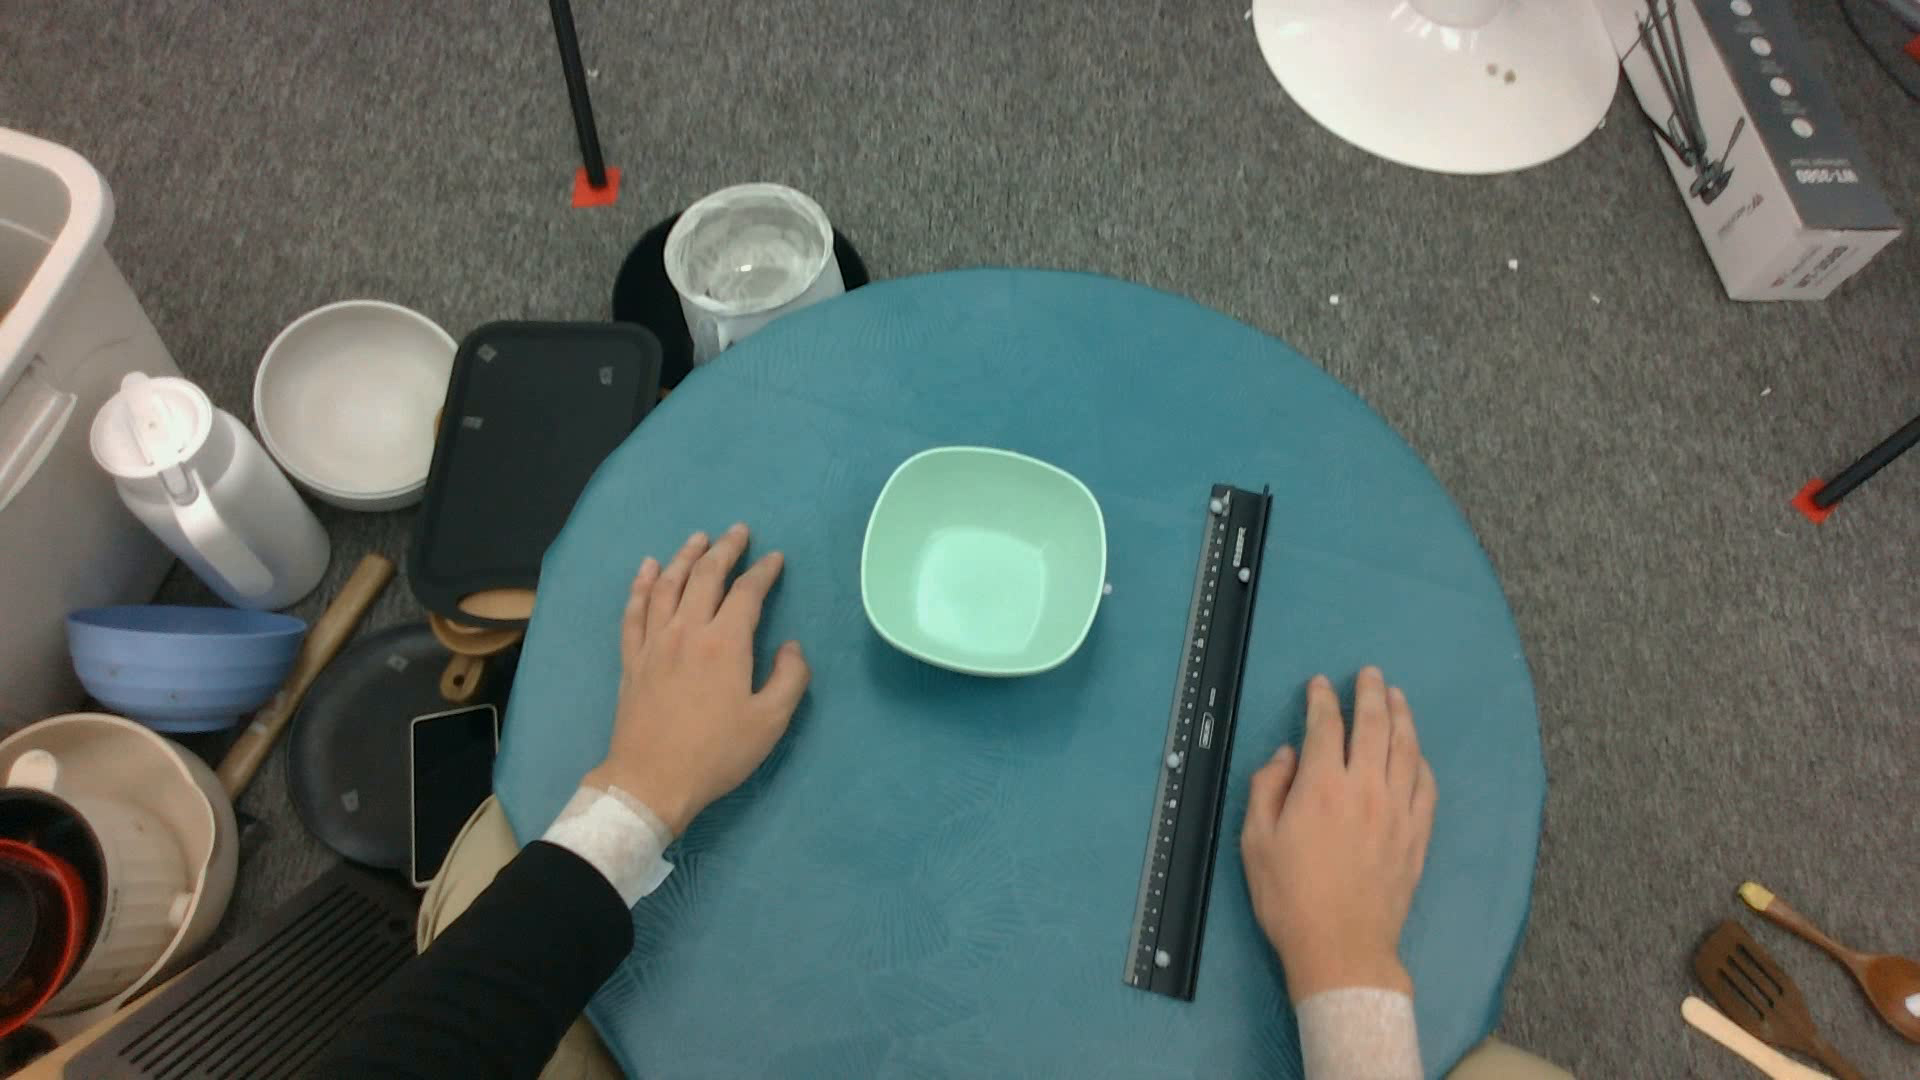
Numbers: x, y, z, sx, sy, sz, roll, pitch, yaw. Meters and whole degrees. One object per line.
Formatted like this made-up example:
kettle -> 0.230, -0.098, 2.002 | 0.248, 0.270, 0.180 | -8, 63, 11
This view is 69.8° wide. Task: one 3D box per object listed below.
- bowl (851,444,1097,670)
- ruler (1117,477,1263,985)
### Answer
bowl -> 0.007, 0.019, 0.805 | 0.151, 0.058, 0.152 | 3, 61, -5
ruler -> 0.138, 0.095, 0.799 | 0.039, 0.017, 0.314 | 12, 63, 6
